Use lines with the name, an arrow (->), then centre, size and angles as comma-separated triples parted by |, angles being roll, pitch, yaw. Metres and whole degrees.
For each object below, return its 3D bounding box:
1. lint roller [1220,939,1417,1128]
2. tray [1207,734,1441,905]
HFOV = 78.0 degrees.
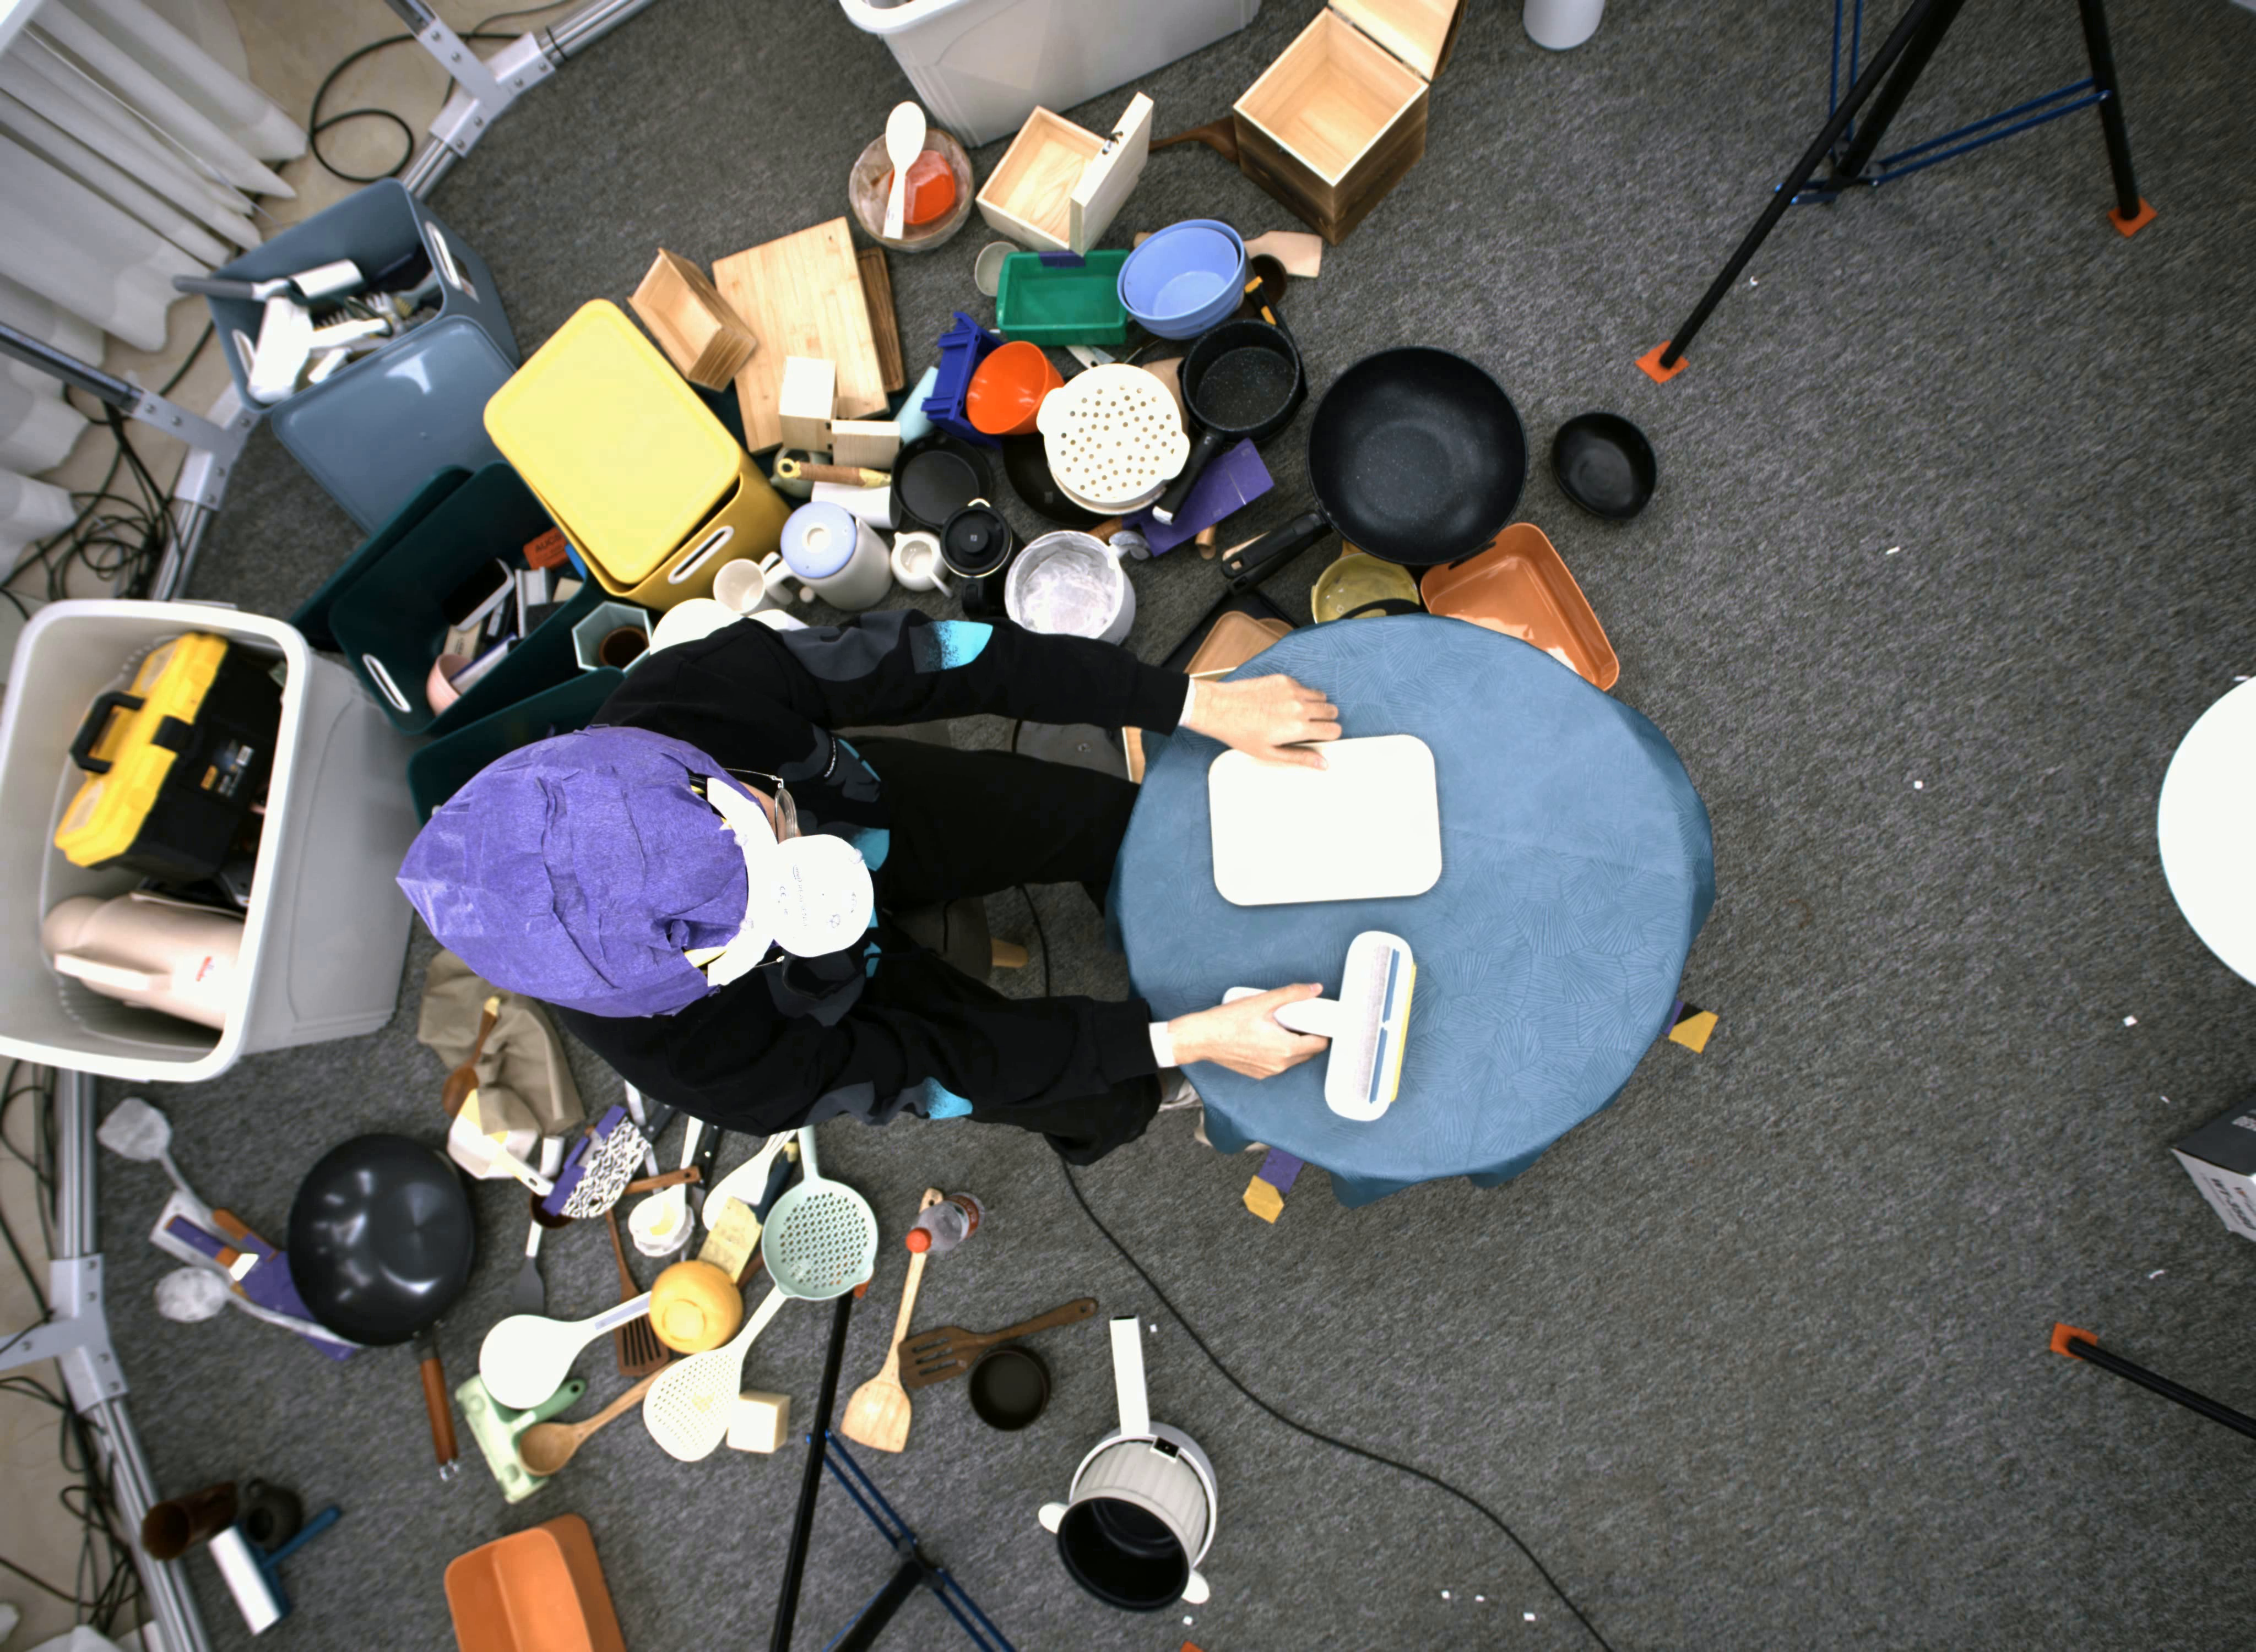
lint roller -> 0.188, 0.197, 1.426 | 0.192, 0.074, 0.191 | 14, 83, 8
tray -> 0.206, -0.007, 1.462 | 0.241, 0.017, 0.170 | -4, 87, 10
